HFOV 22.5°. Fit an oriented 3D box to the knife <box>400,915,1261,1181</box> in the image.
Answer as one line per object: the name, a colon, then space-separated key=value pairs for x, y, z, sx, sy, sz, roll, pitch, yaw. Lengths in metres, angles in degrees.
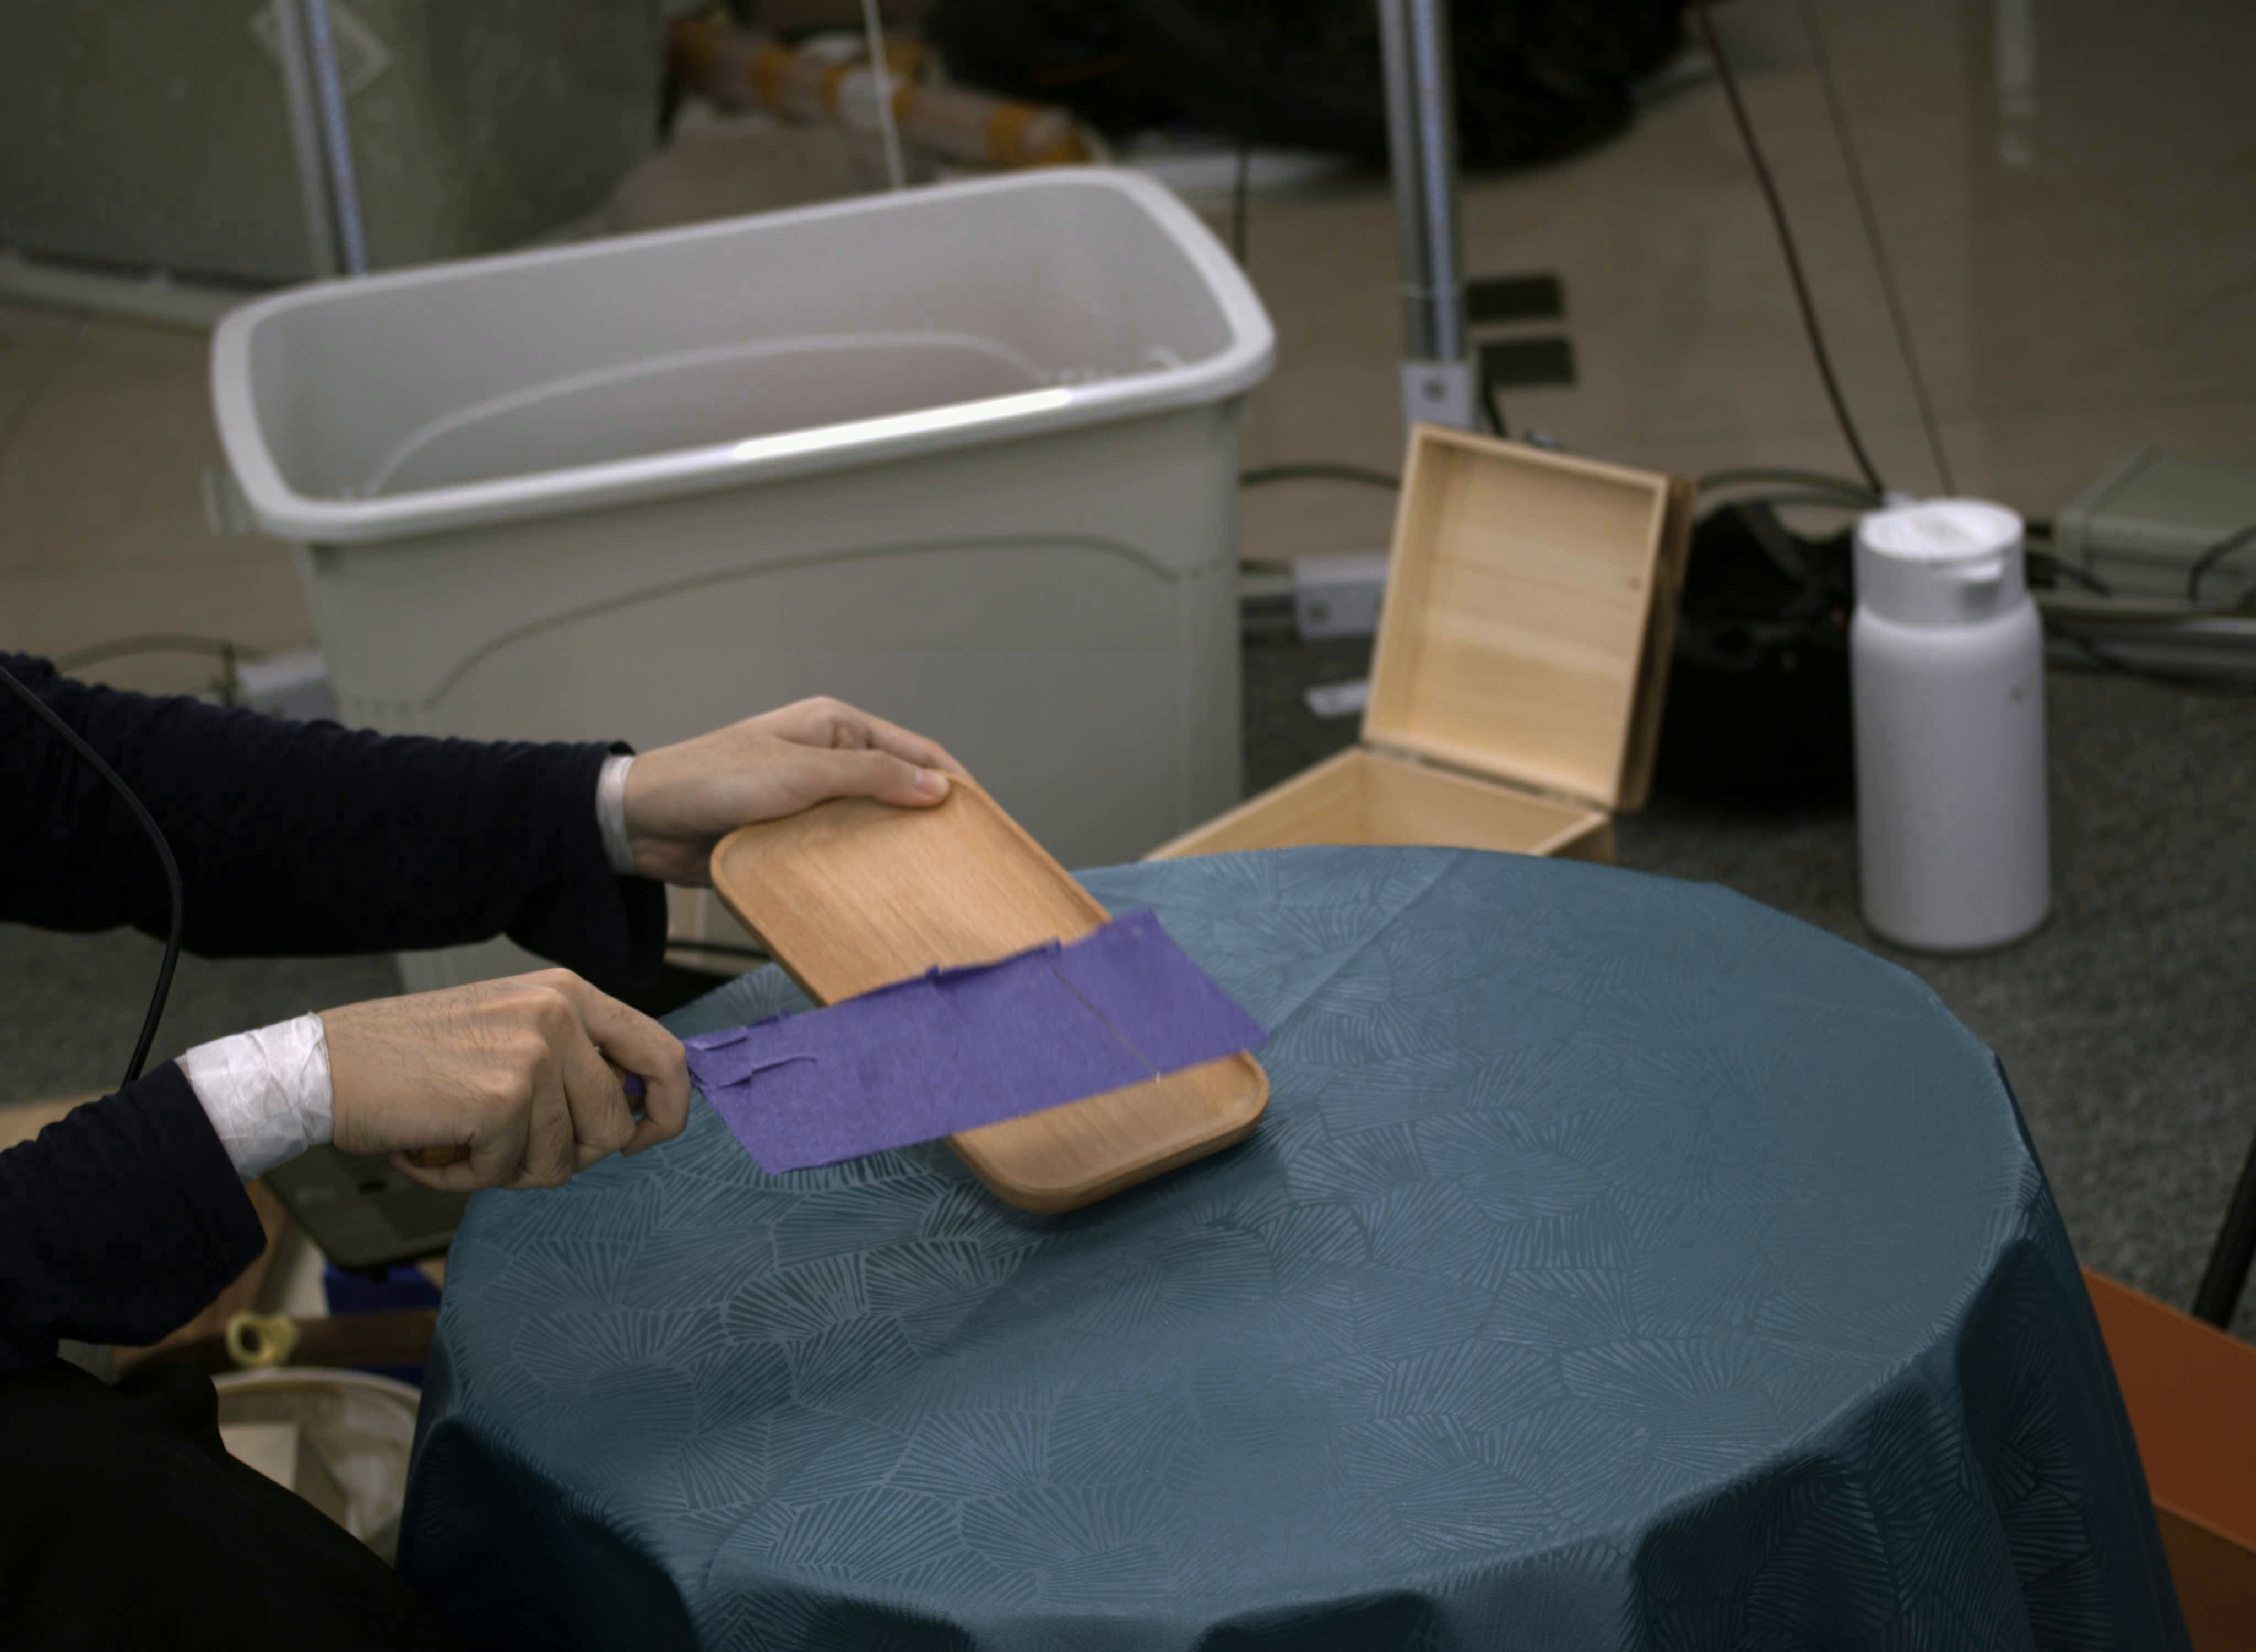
knife: x=-0.103 y=0.090 z=2.058 sx=0.314 sy=0.033 sz=0.102 roll=-14 pitch=36 yaw=-24

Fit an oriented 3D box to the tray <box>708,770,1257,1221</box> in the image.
tray: x=-0.059 y=0.064 z=2.224 sx=0.130 sy=0.023 sz=0.247 roll=-21 pitch=47 yaw=-24
